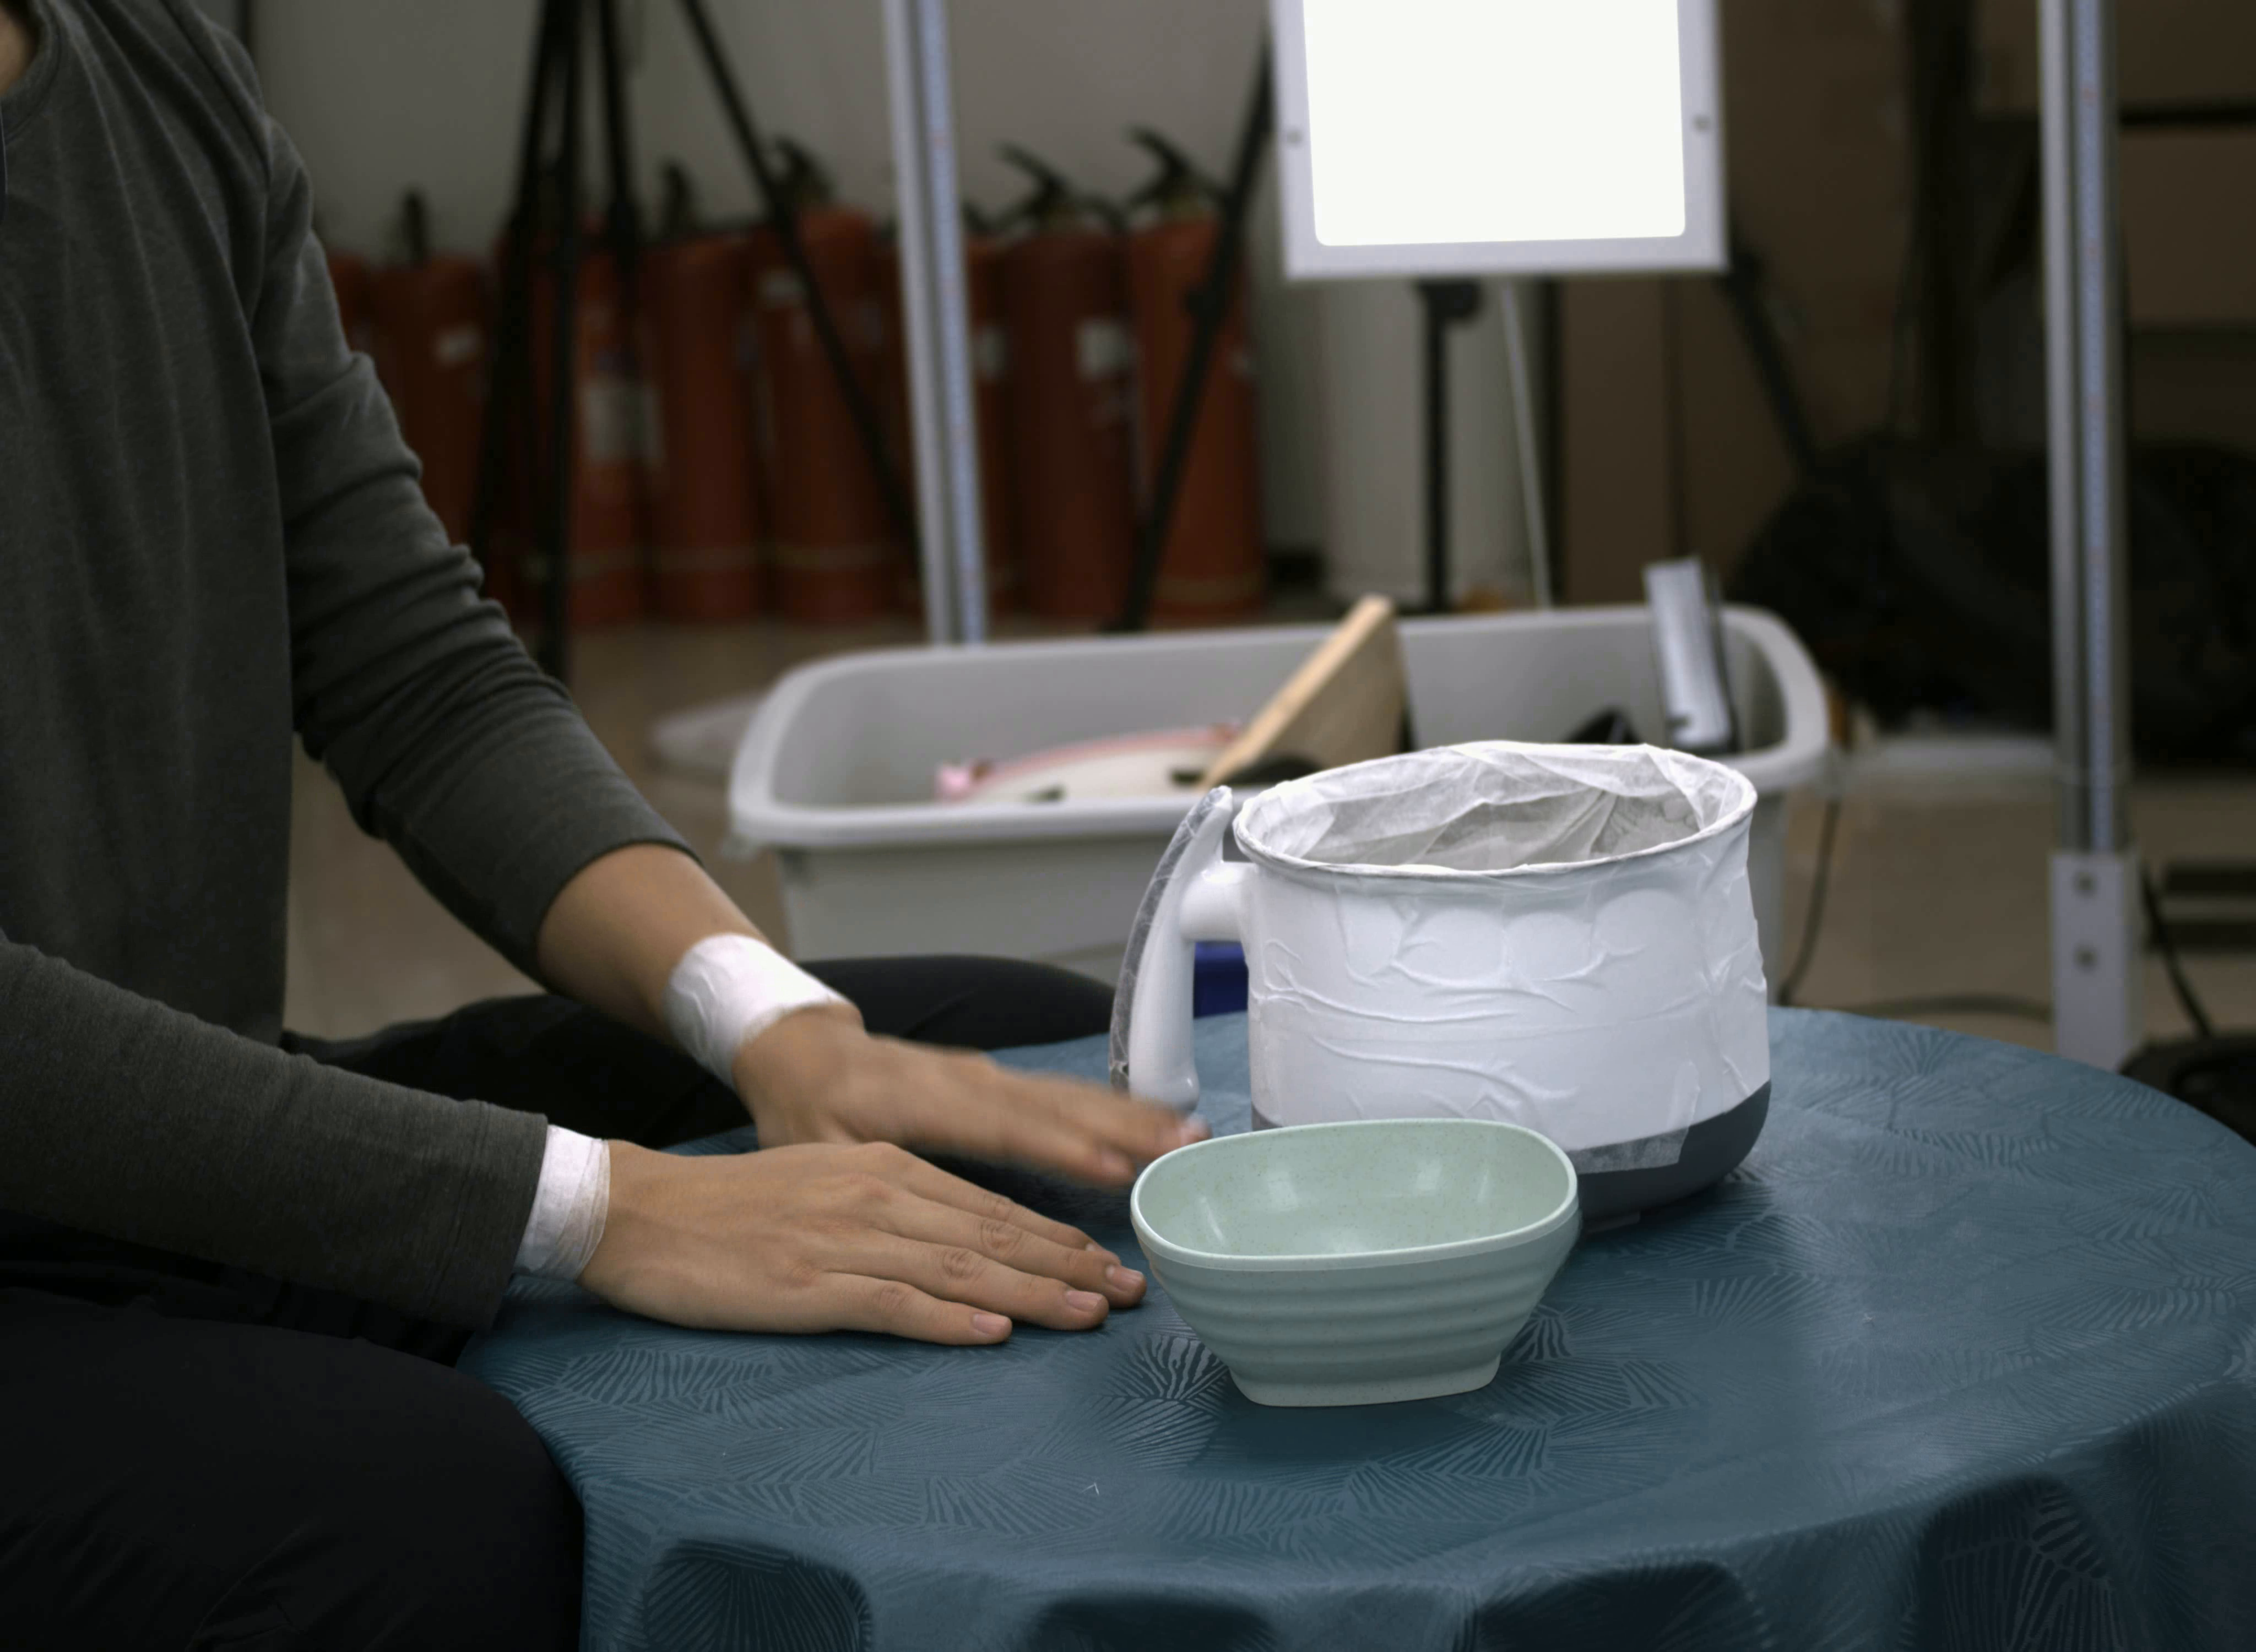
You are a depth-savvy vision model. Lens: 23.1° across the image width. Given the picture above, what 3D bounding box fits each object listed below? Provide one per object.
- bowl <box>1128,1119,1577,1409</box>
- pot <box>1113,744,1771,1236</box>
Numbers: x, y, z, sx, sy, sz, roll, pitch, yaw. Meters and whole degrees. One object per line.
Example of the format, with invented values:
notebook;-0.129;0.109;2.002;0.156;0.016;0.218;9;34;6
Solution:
bowl;0.071;0.139;1.706;0.151;0.059;0.151;-3;14;-1
pot;0.103;0.055;1.874;0.237;0.137;0.175;0;15;23
